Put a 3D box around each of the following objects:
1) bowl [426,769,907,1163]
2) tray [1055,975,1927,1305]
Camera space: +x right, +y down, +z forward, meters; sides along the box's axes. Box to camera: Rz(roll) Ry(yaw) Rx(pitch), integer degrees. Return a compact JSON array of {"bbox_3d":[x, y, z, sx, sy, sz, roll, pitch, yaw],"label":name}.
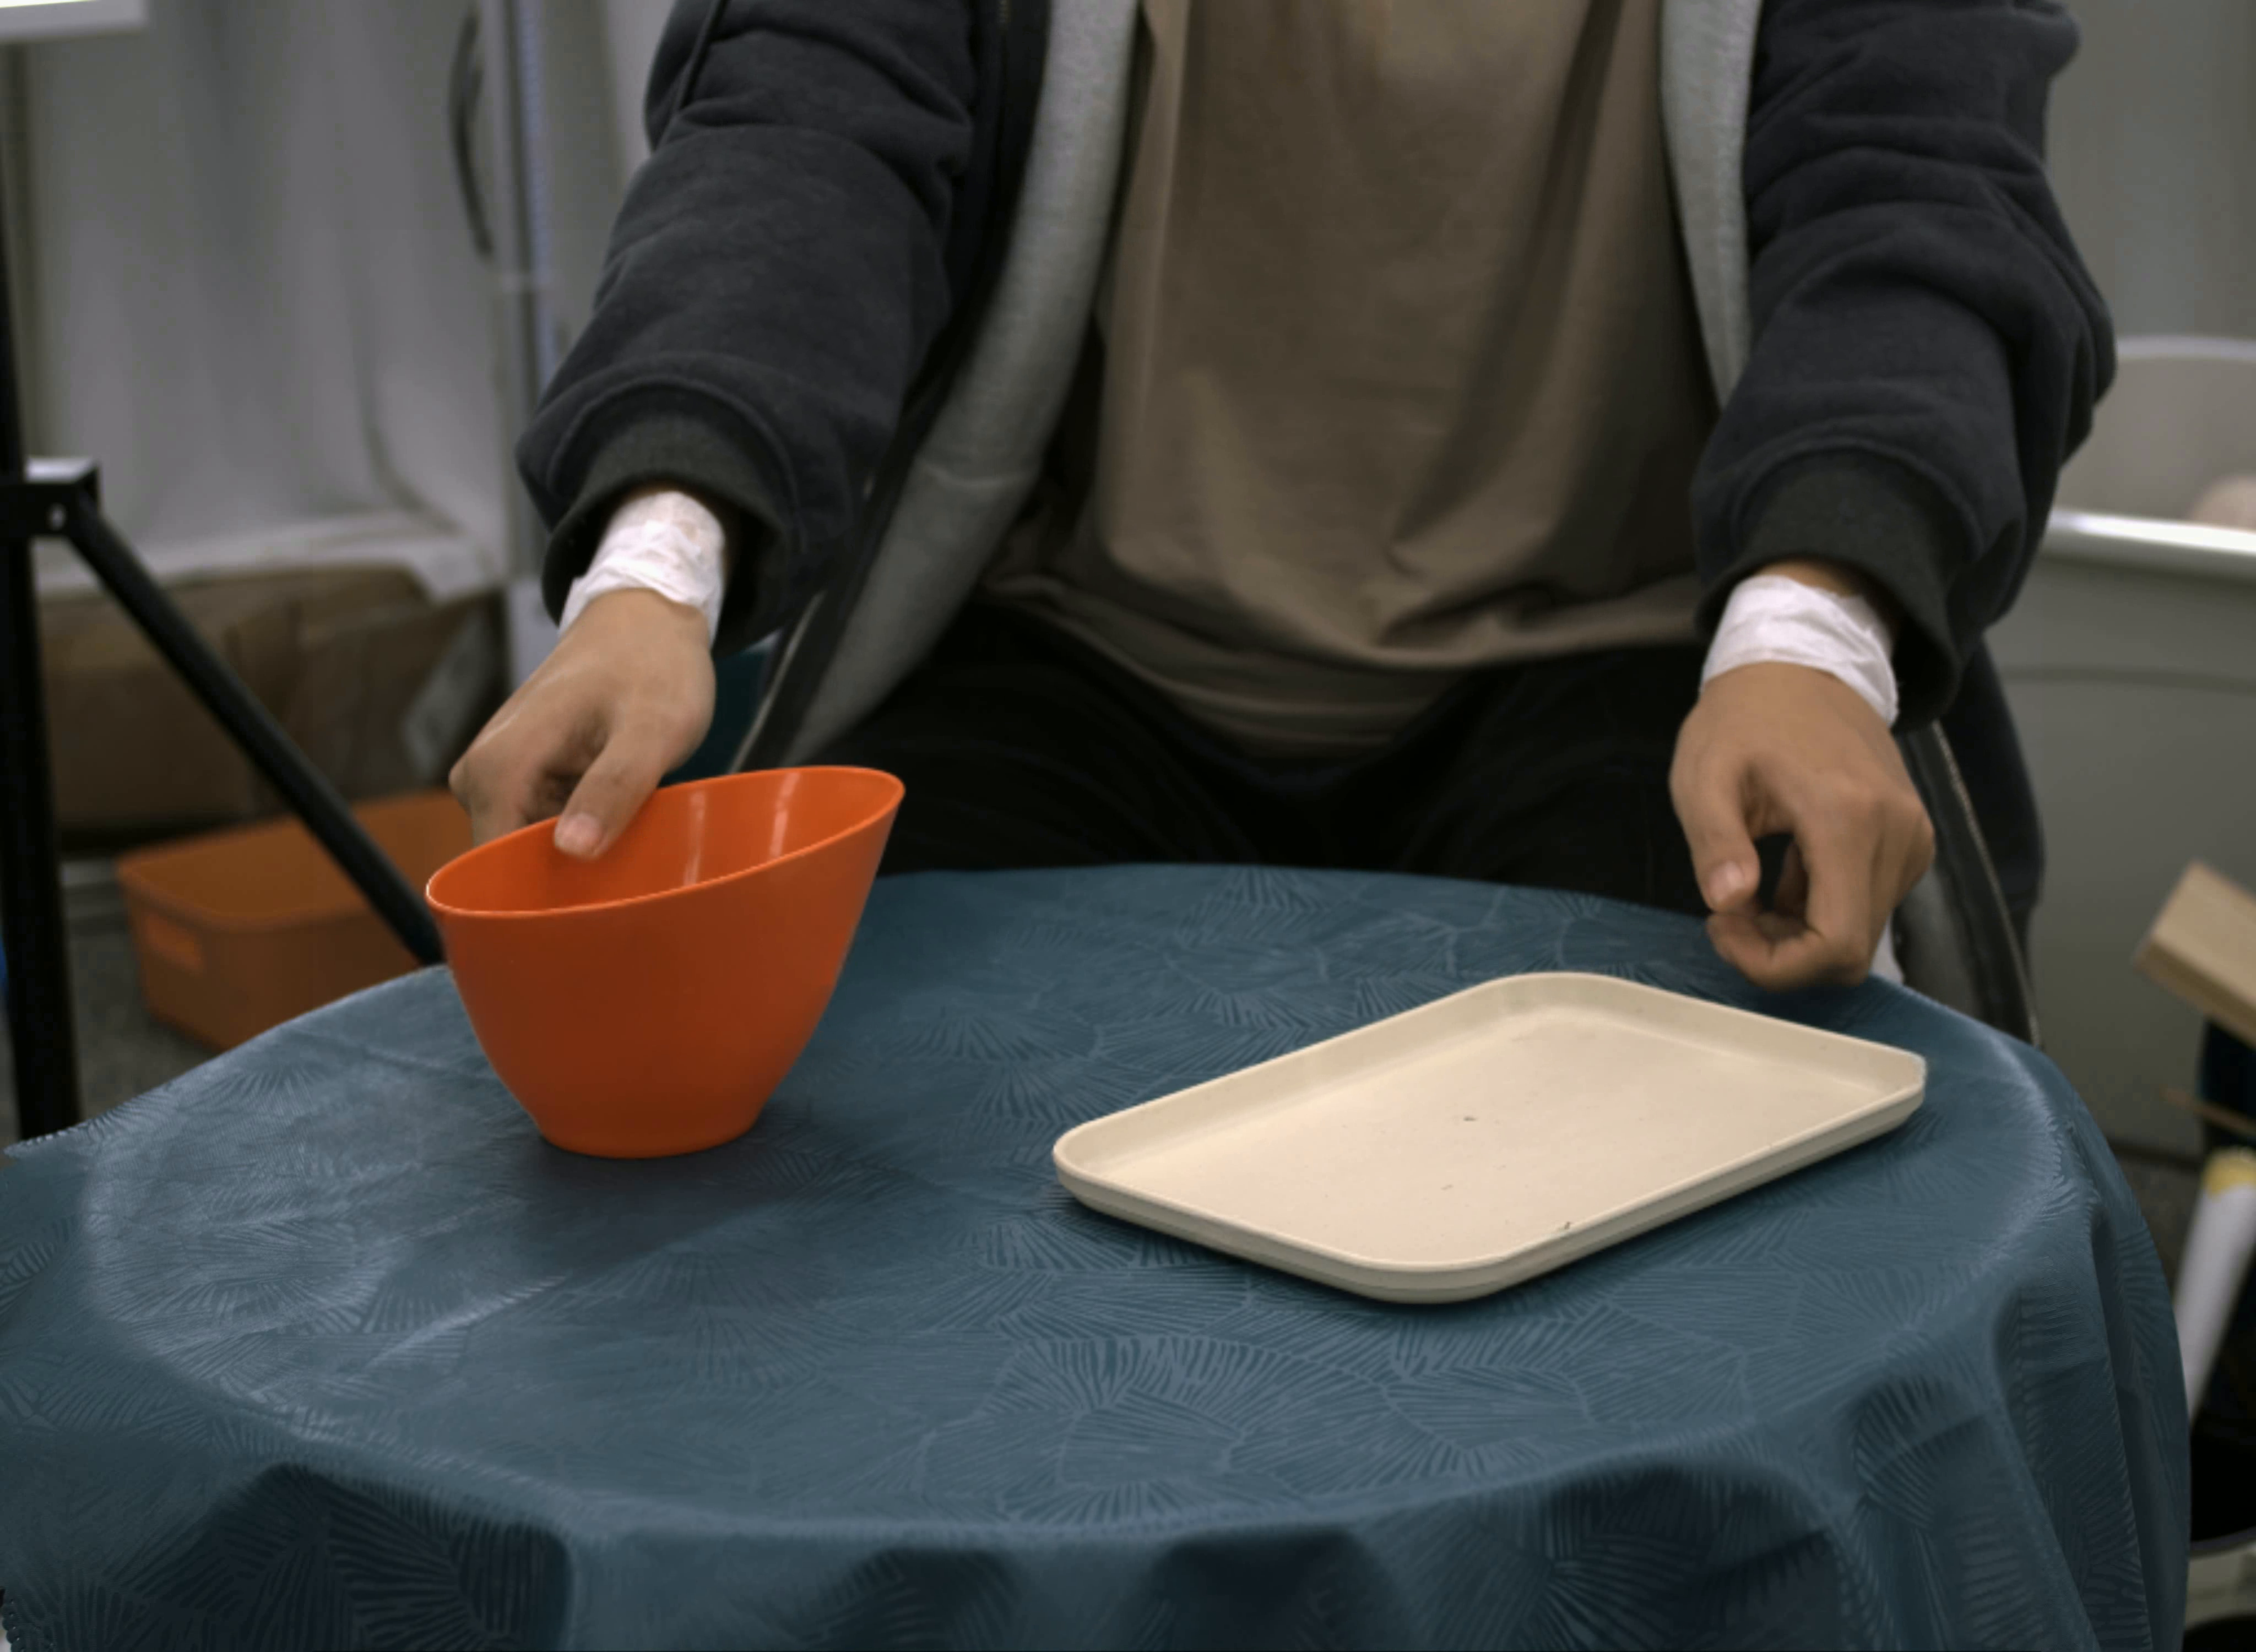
[{"bbox_3d":[-0.139,0.044,1.626,0.147,0.104,0.149,-2,17,-1],"label":"bowl"},{"bbox_3d":[0.109,0.092,1.568,0.234,0.017,0.175,-17,20,-41],"label":"tray"}]
